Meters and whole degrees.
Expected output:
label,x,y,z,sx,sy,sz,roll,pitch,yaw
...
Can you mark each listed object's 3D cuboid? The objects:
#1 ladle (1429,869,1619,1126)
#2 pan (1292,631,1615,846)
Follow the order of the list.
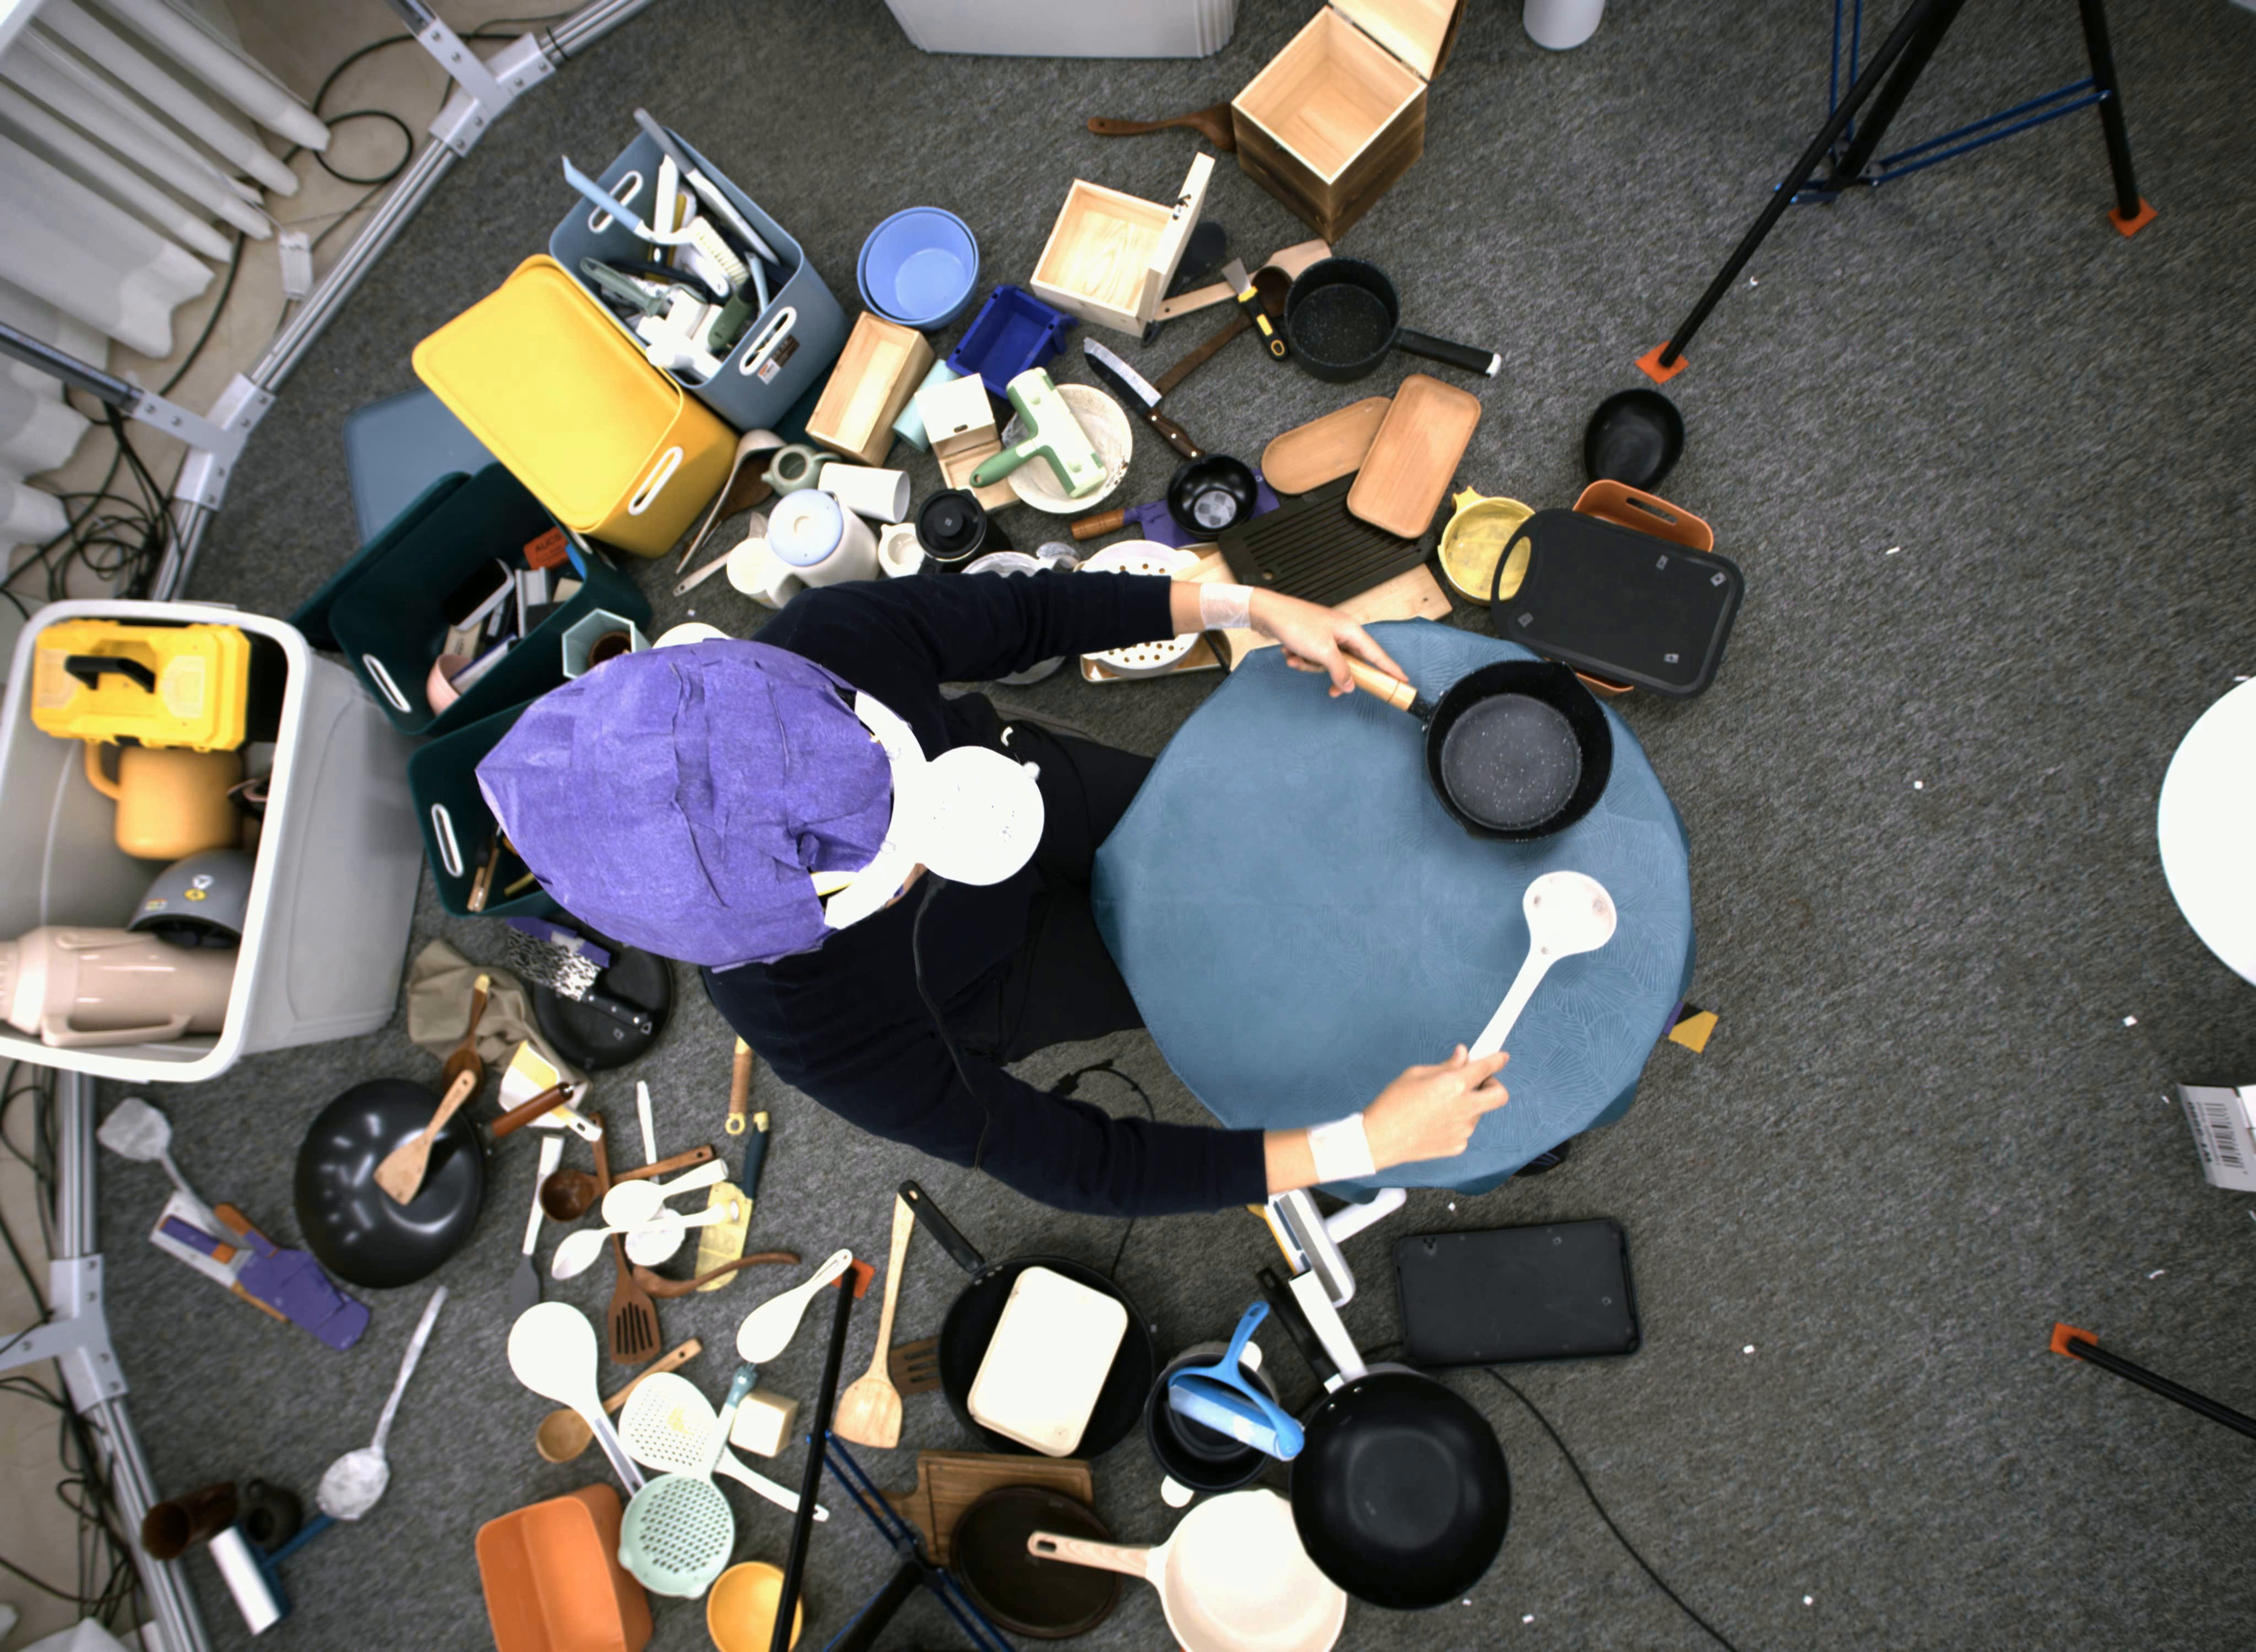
label,x,y,z,sx,sy,sz,roll,pitch,yaw
ladle,0.363,0.159,1.287,0.089,0.070,0.271,35,75,9
pan,0.323,-0.107,1.405,0.342,0.108,0.208,26,92,9
